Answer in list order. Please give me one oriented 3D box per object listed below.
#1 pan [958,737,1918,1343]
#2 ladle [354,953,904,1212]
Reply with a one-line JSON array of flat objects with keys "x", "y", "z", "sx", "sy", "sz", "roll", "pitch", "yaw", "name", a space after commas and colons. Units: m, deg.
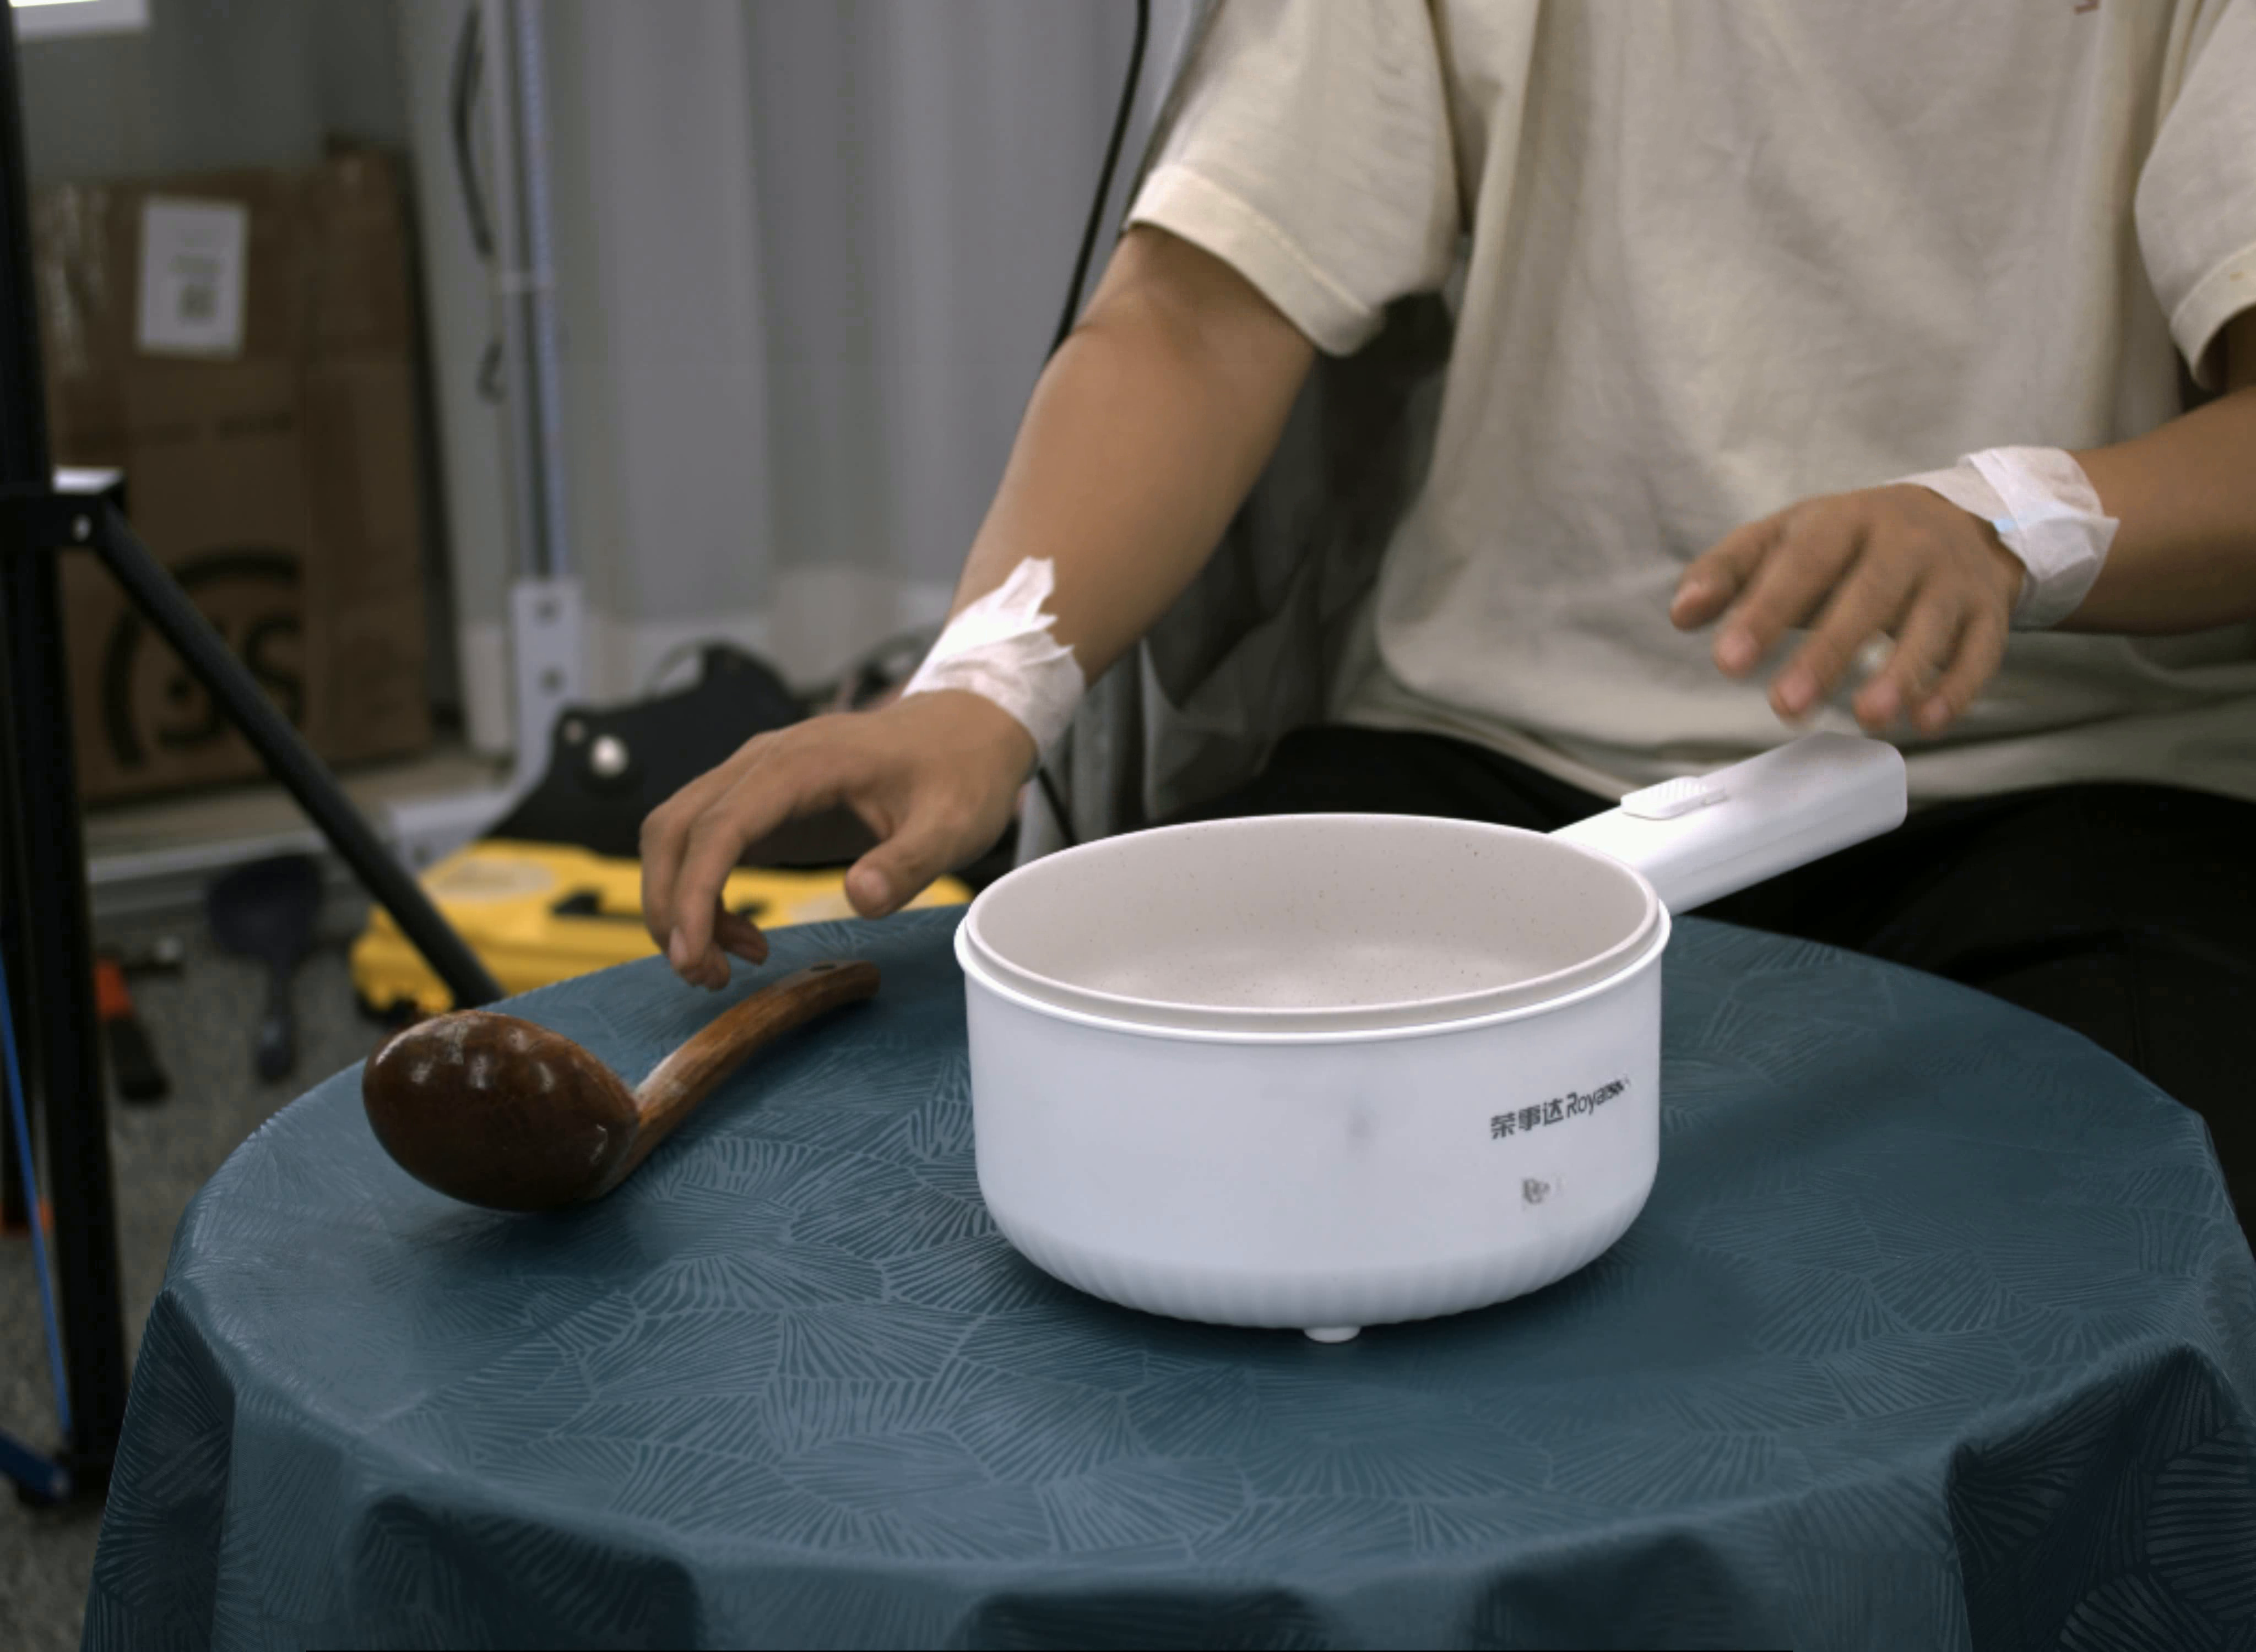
[{"x": 0.107, "y": 0.056, "z": 1.545, "sx": 0.346, "sy": 0.102, "sz": 0.206, "roll": -16, "pitch": 19, "yaw": -42, "name": "pan"}, {"x": -0.143, "y": 0.054, "z": 1.628, "sx": 0.083, "sy": 0.076, "sz": 0.270, "roll": 2, "pitch": 17, "yaw": 24, "name": "ladle"}]
